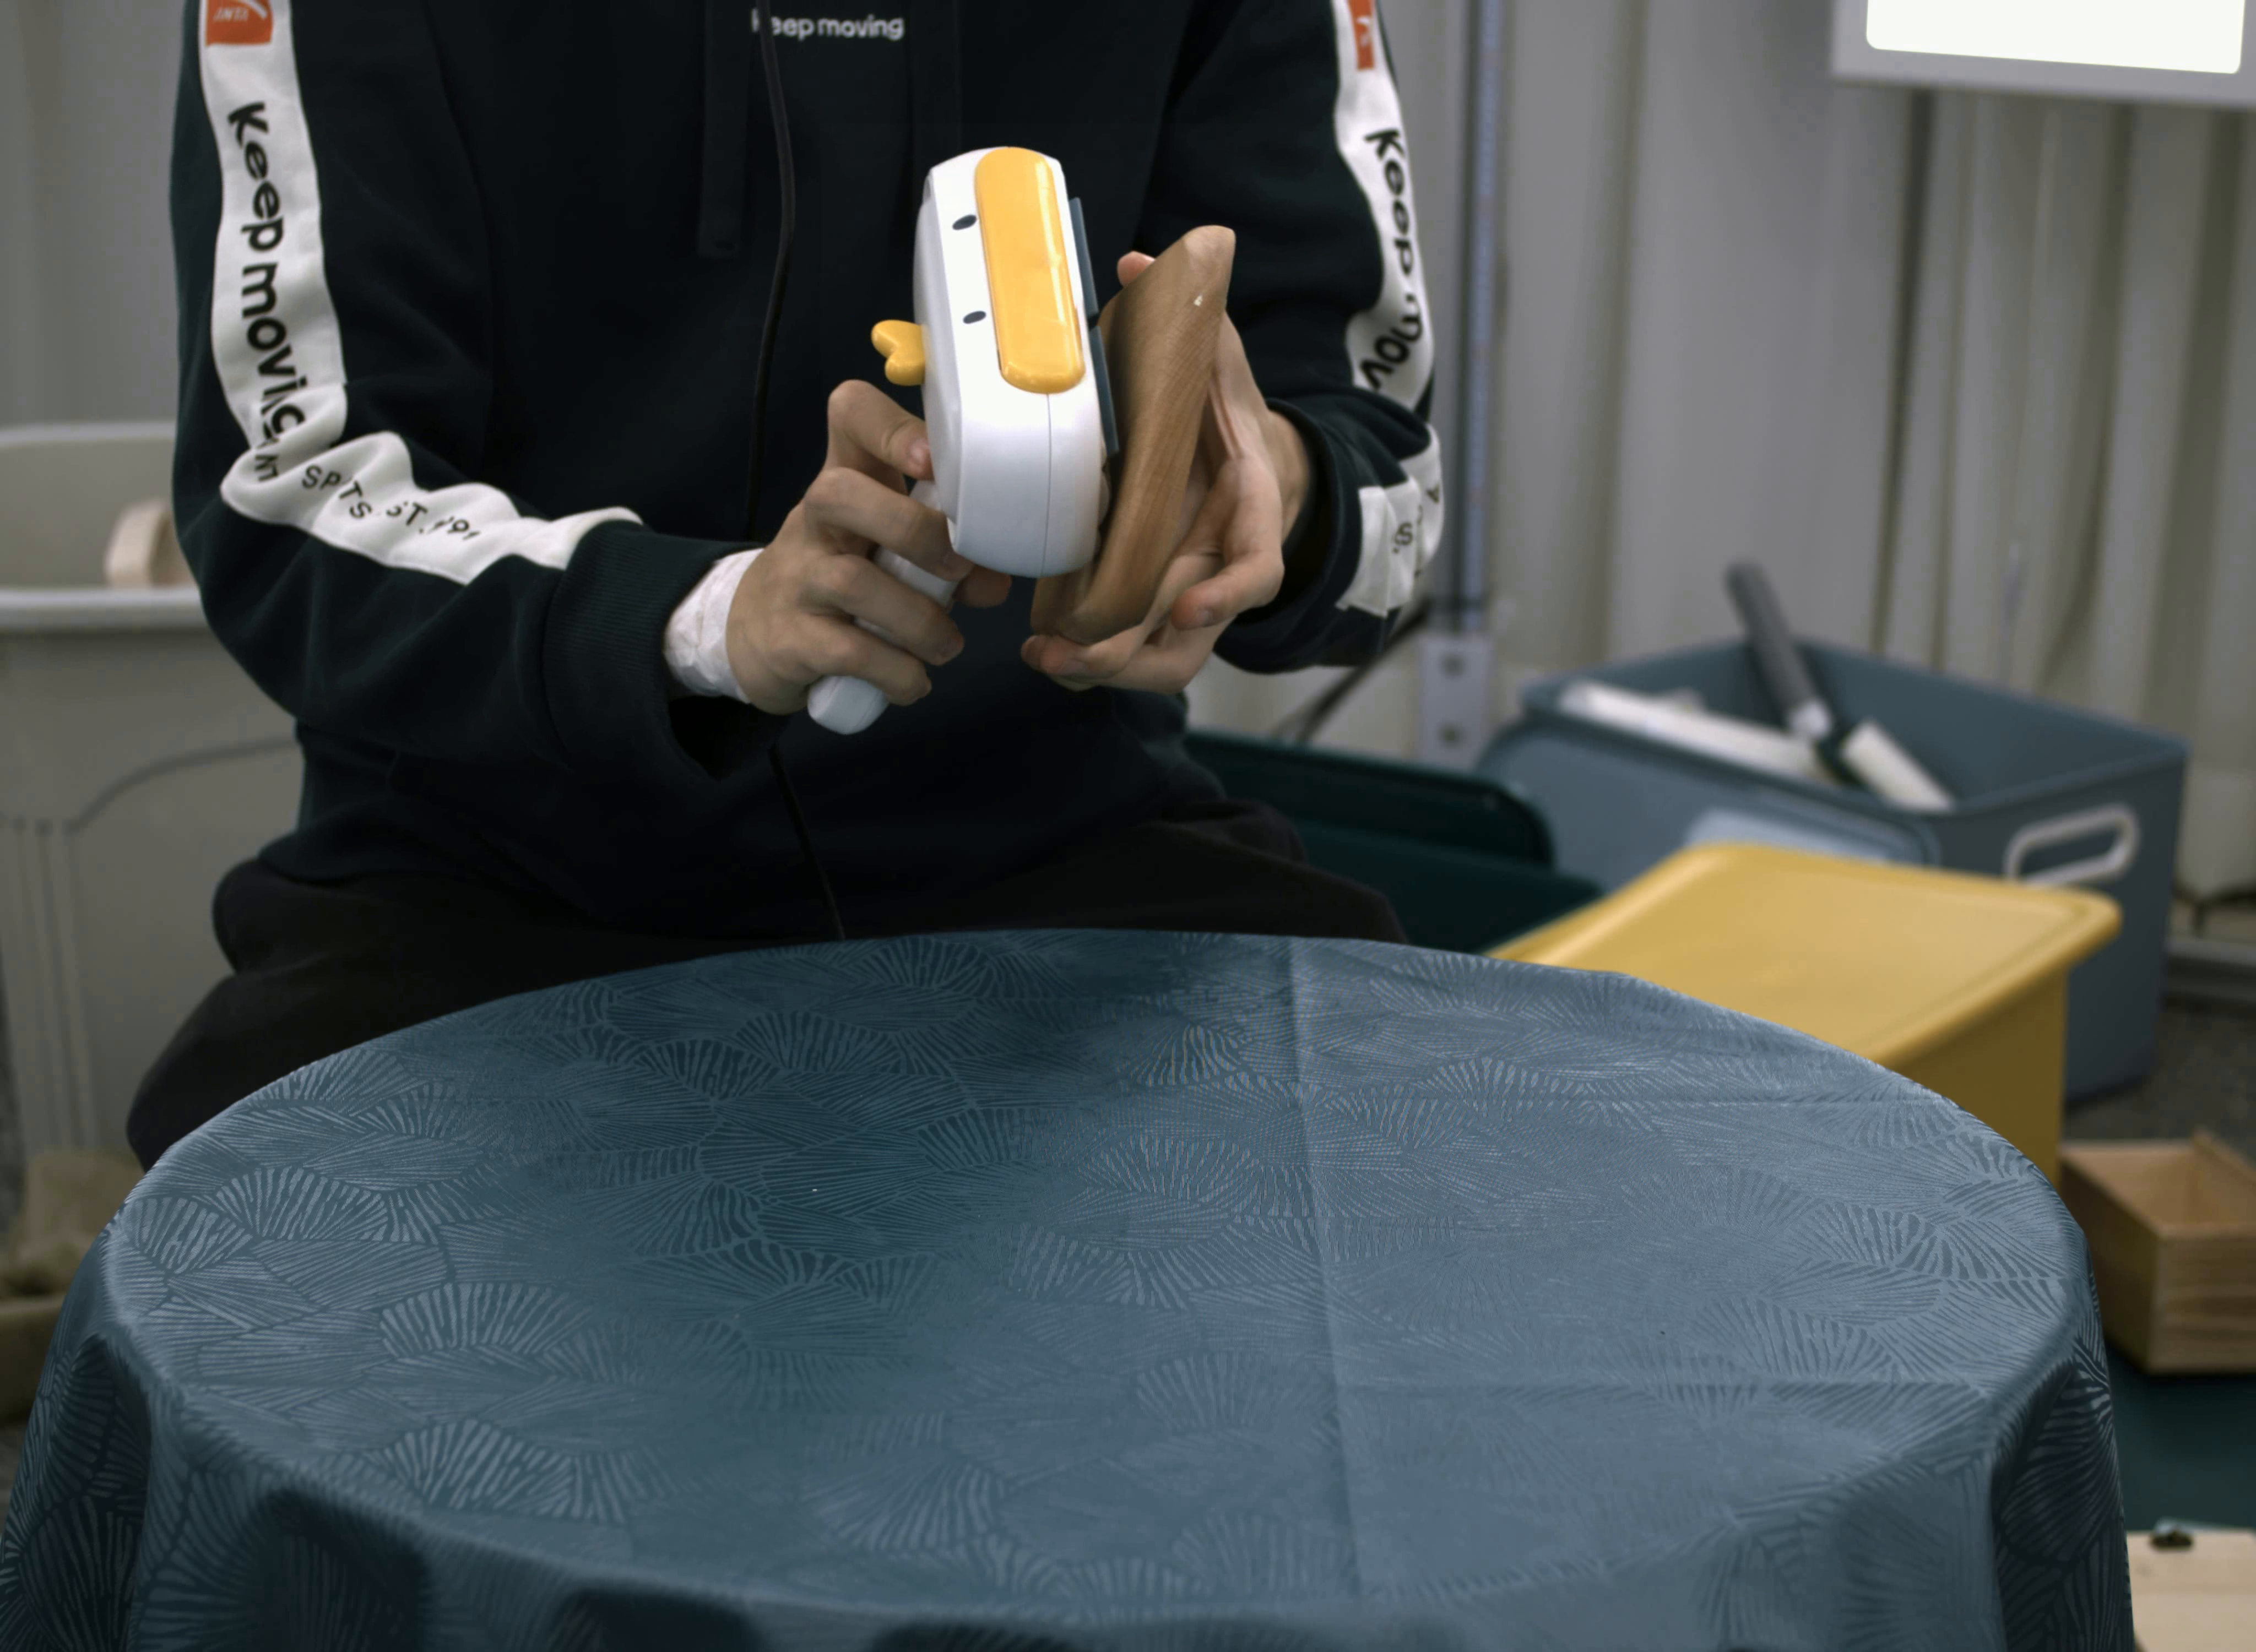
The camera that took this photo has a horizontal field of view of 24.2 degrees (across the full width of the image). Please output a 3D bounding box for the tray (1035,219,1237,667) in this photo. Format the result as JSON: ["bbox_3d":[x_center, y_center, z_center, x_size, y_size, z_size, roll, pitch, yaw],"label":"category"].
[{"bbox_3d":[0.000,-0.122,1.712,0.023,0.131,0.250,15,-4,-7],"label":"tray"}]

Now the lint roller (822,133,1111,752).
[{"bbox_3d":[-0.058,-0.109,1.730,0.074,0.194,0.190,3,32,-15],"label":"lint roller"}]
